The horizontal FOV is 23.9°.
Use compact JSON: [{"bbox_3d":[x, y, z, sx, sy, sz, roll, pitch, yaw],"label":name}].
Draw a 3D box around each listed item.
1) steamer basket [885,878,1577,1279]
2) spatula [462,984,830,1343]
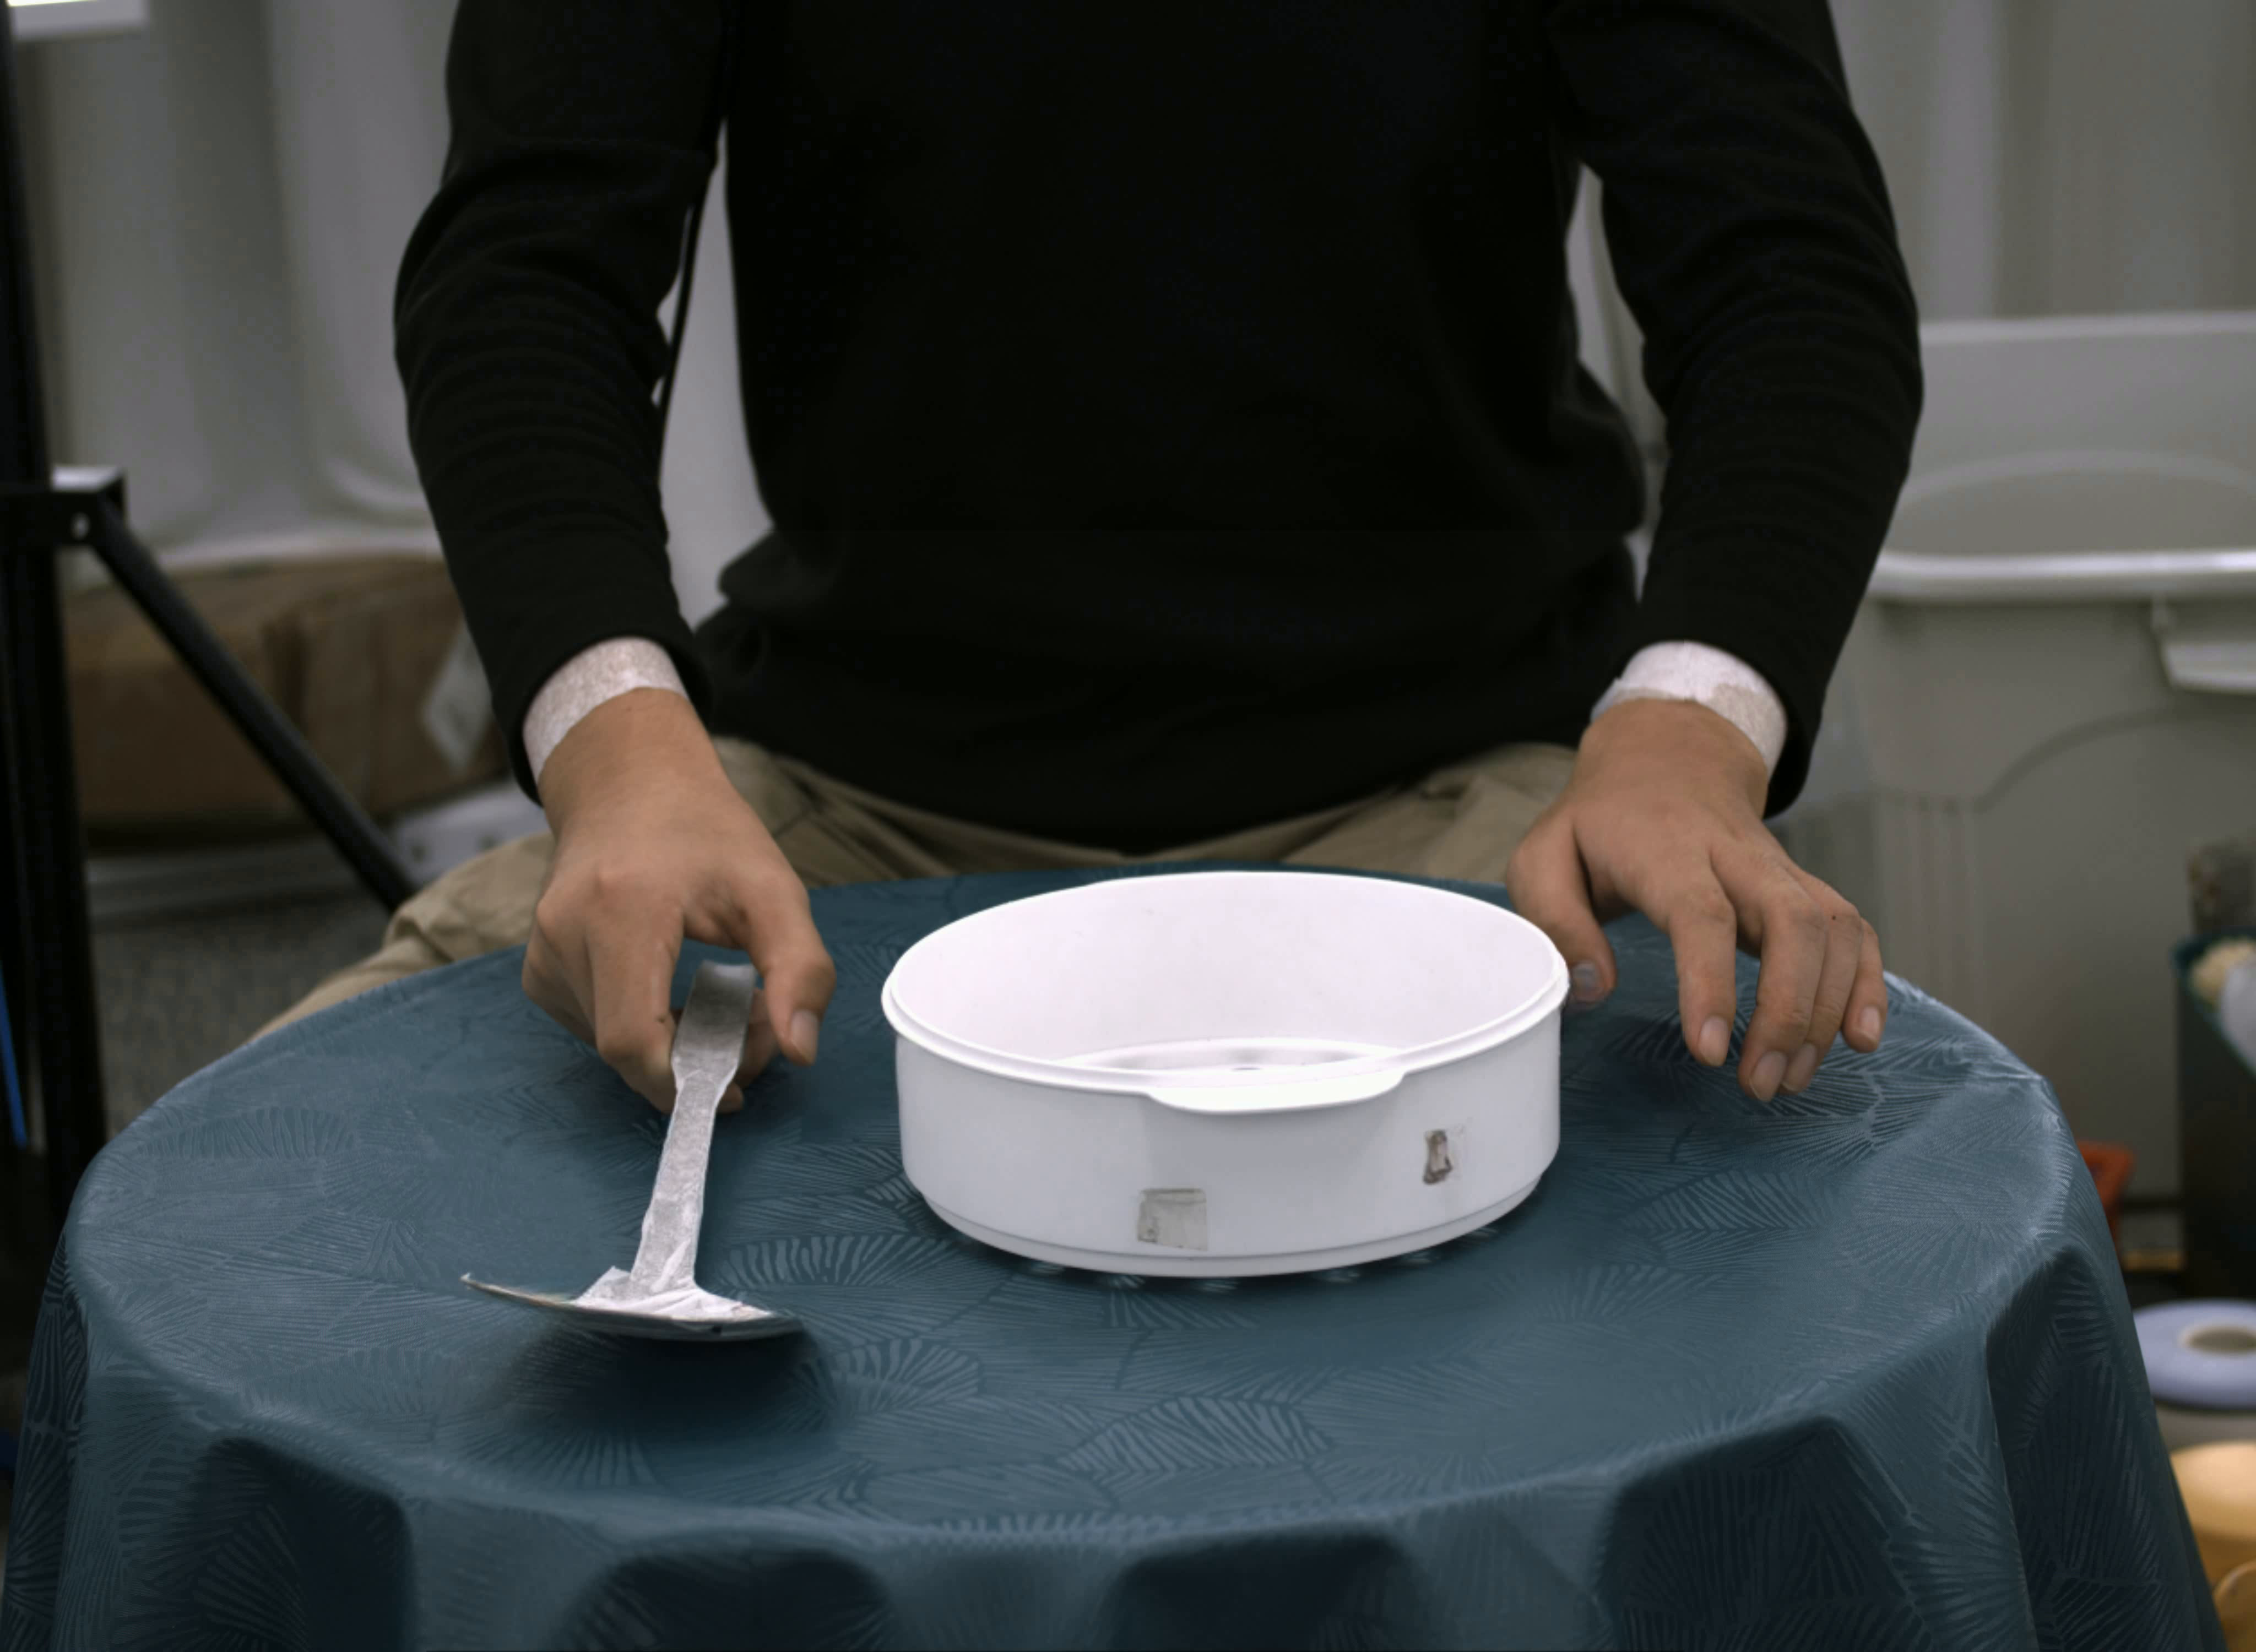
[{"bbox_3d":[0.030,0.073,1.547,0.200,0.069,0.232,-3,15,-5],"label":"steamer basket"},{"bbox_3d":[-0.125,0.089,1.559,0.098,0.045,0.366,3,18,0],"label":"spatula"}]
